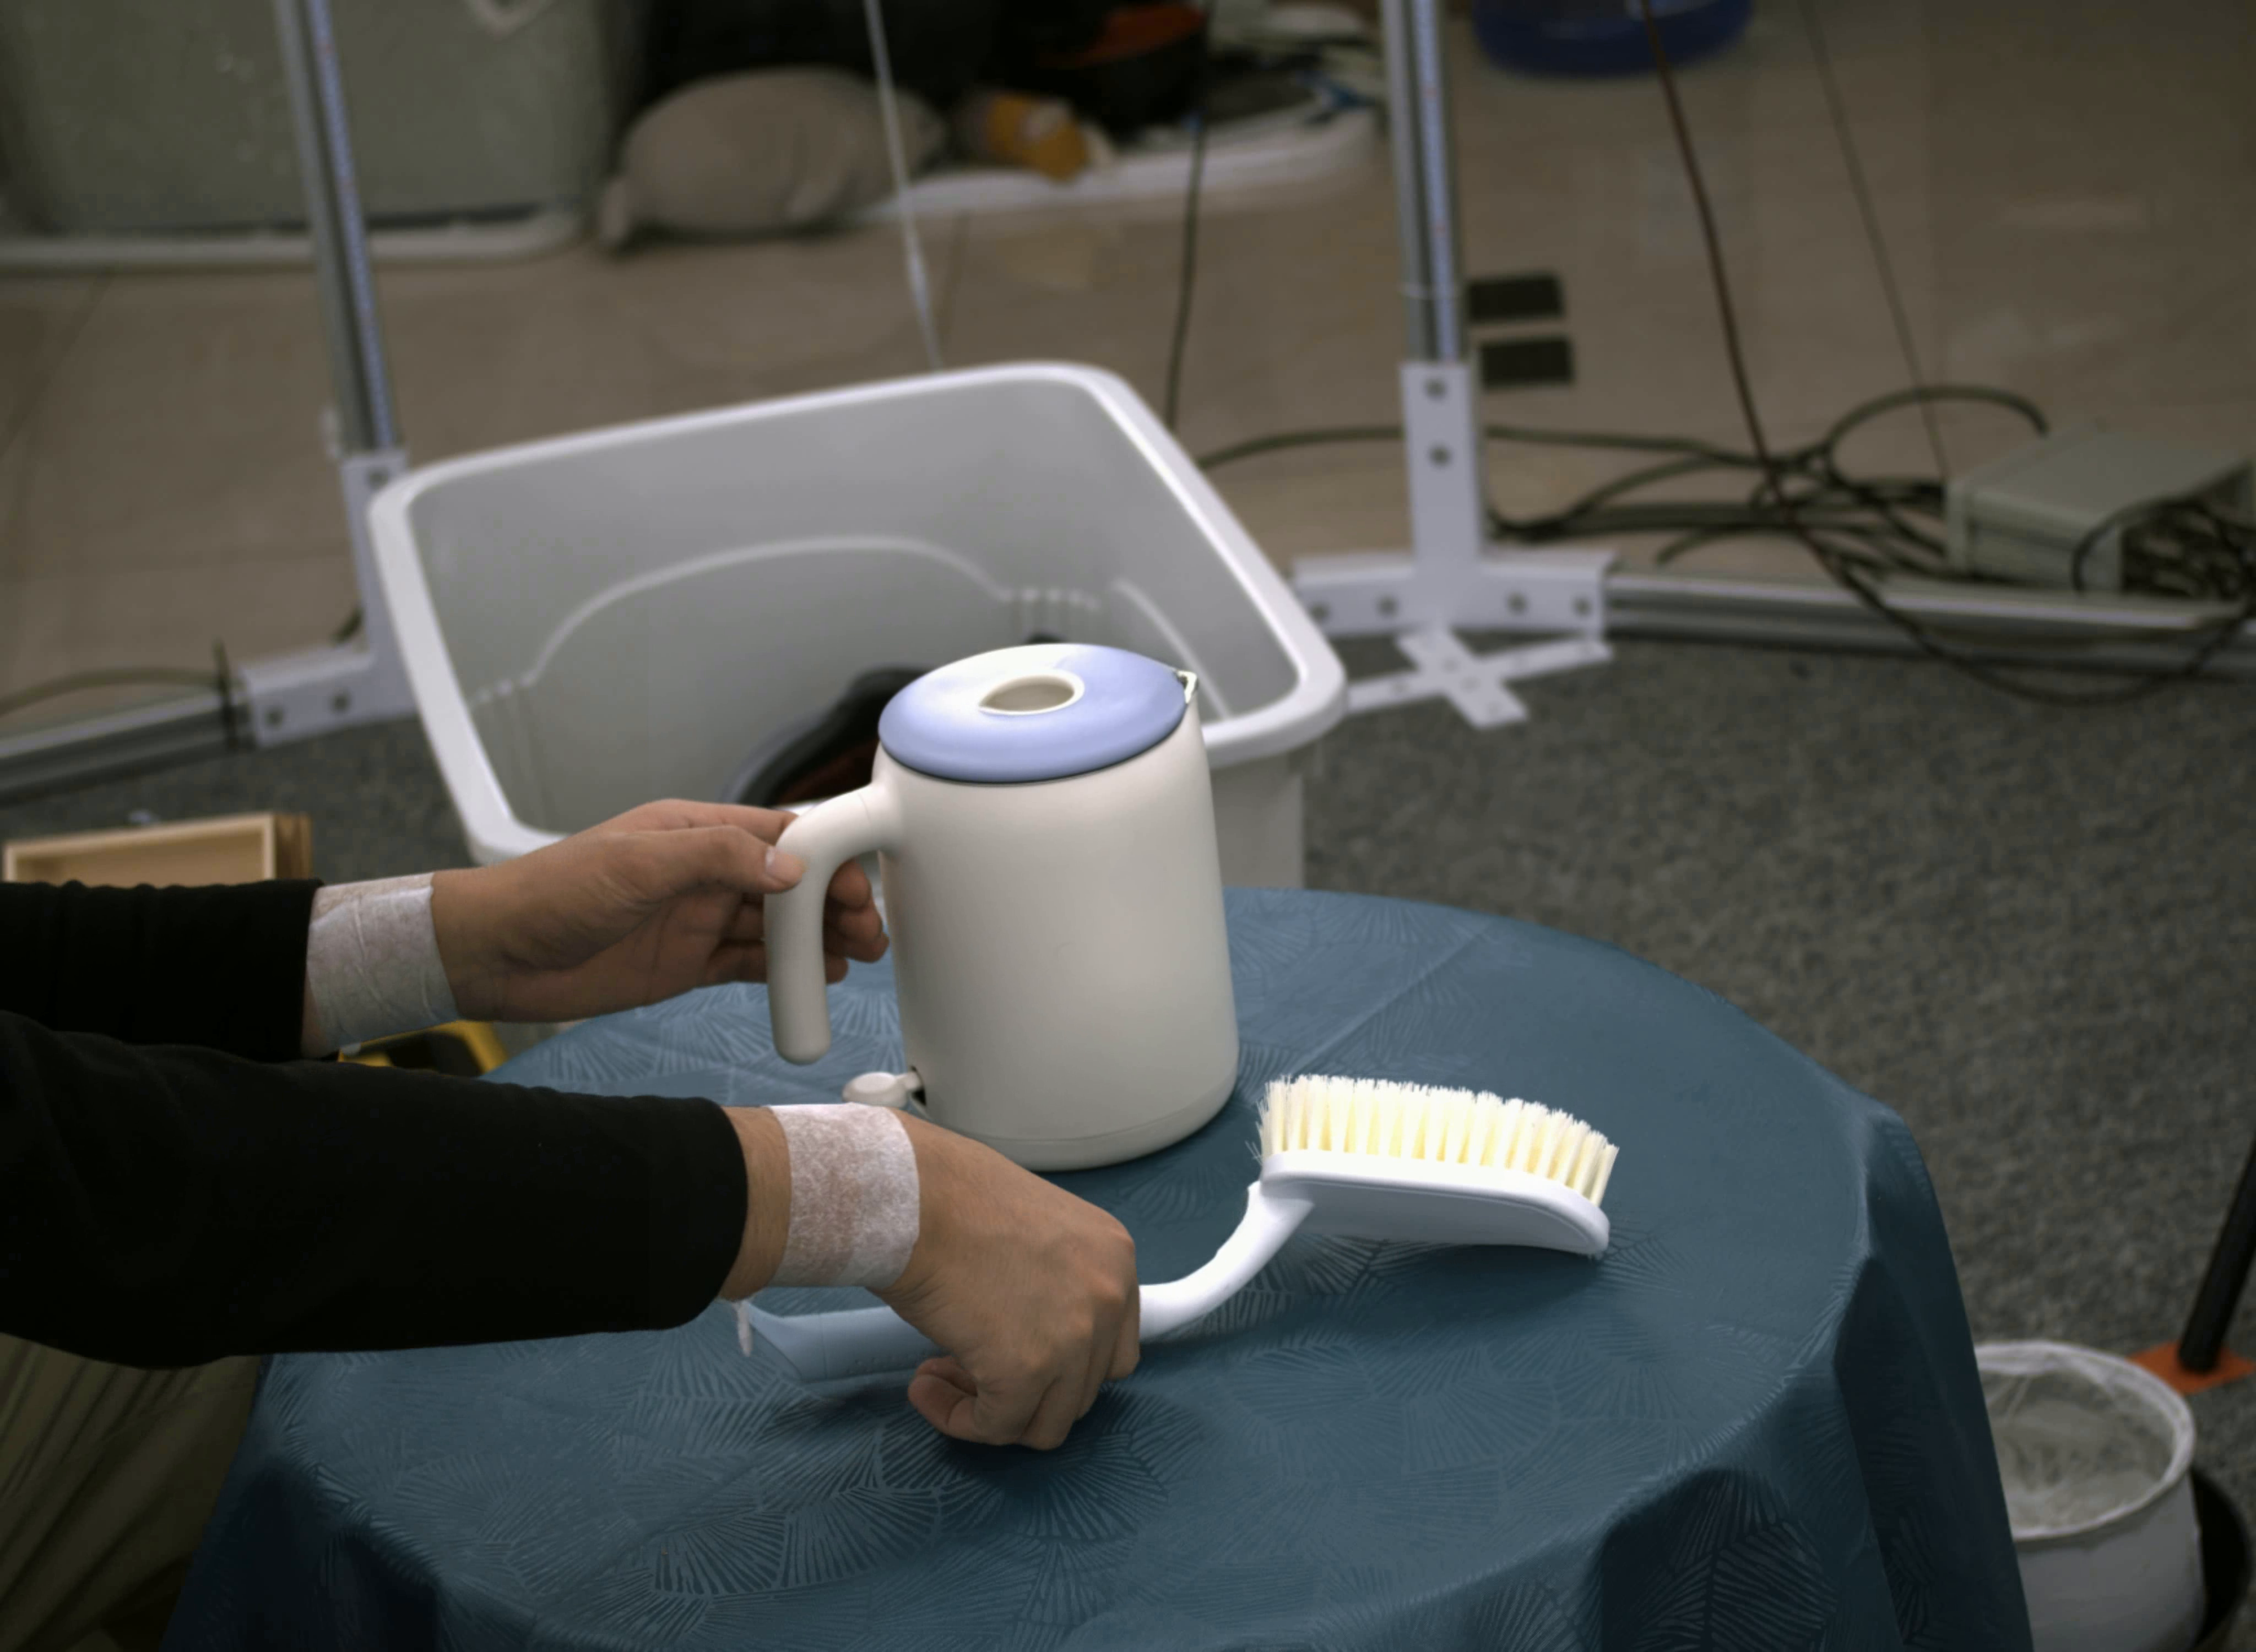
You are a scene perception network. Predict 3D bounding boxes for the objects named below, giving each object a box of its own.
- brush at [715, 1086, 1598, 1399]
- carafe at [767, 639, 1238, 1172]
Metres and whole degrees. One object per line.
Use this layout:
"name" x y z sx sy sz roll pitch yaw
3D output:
"brush" 0.009 0.137 2.046 0.325 0.084 0.083 -7 30 -6
"carafe" -0.051 0.037 2.174 0.190 0.185 0.130 -17 27 -20
